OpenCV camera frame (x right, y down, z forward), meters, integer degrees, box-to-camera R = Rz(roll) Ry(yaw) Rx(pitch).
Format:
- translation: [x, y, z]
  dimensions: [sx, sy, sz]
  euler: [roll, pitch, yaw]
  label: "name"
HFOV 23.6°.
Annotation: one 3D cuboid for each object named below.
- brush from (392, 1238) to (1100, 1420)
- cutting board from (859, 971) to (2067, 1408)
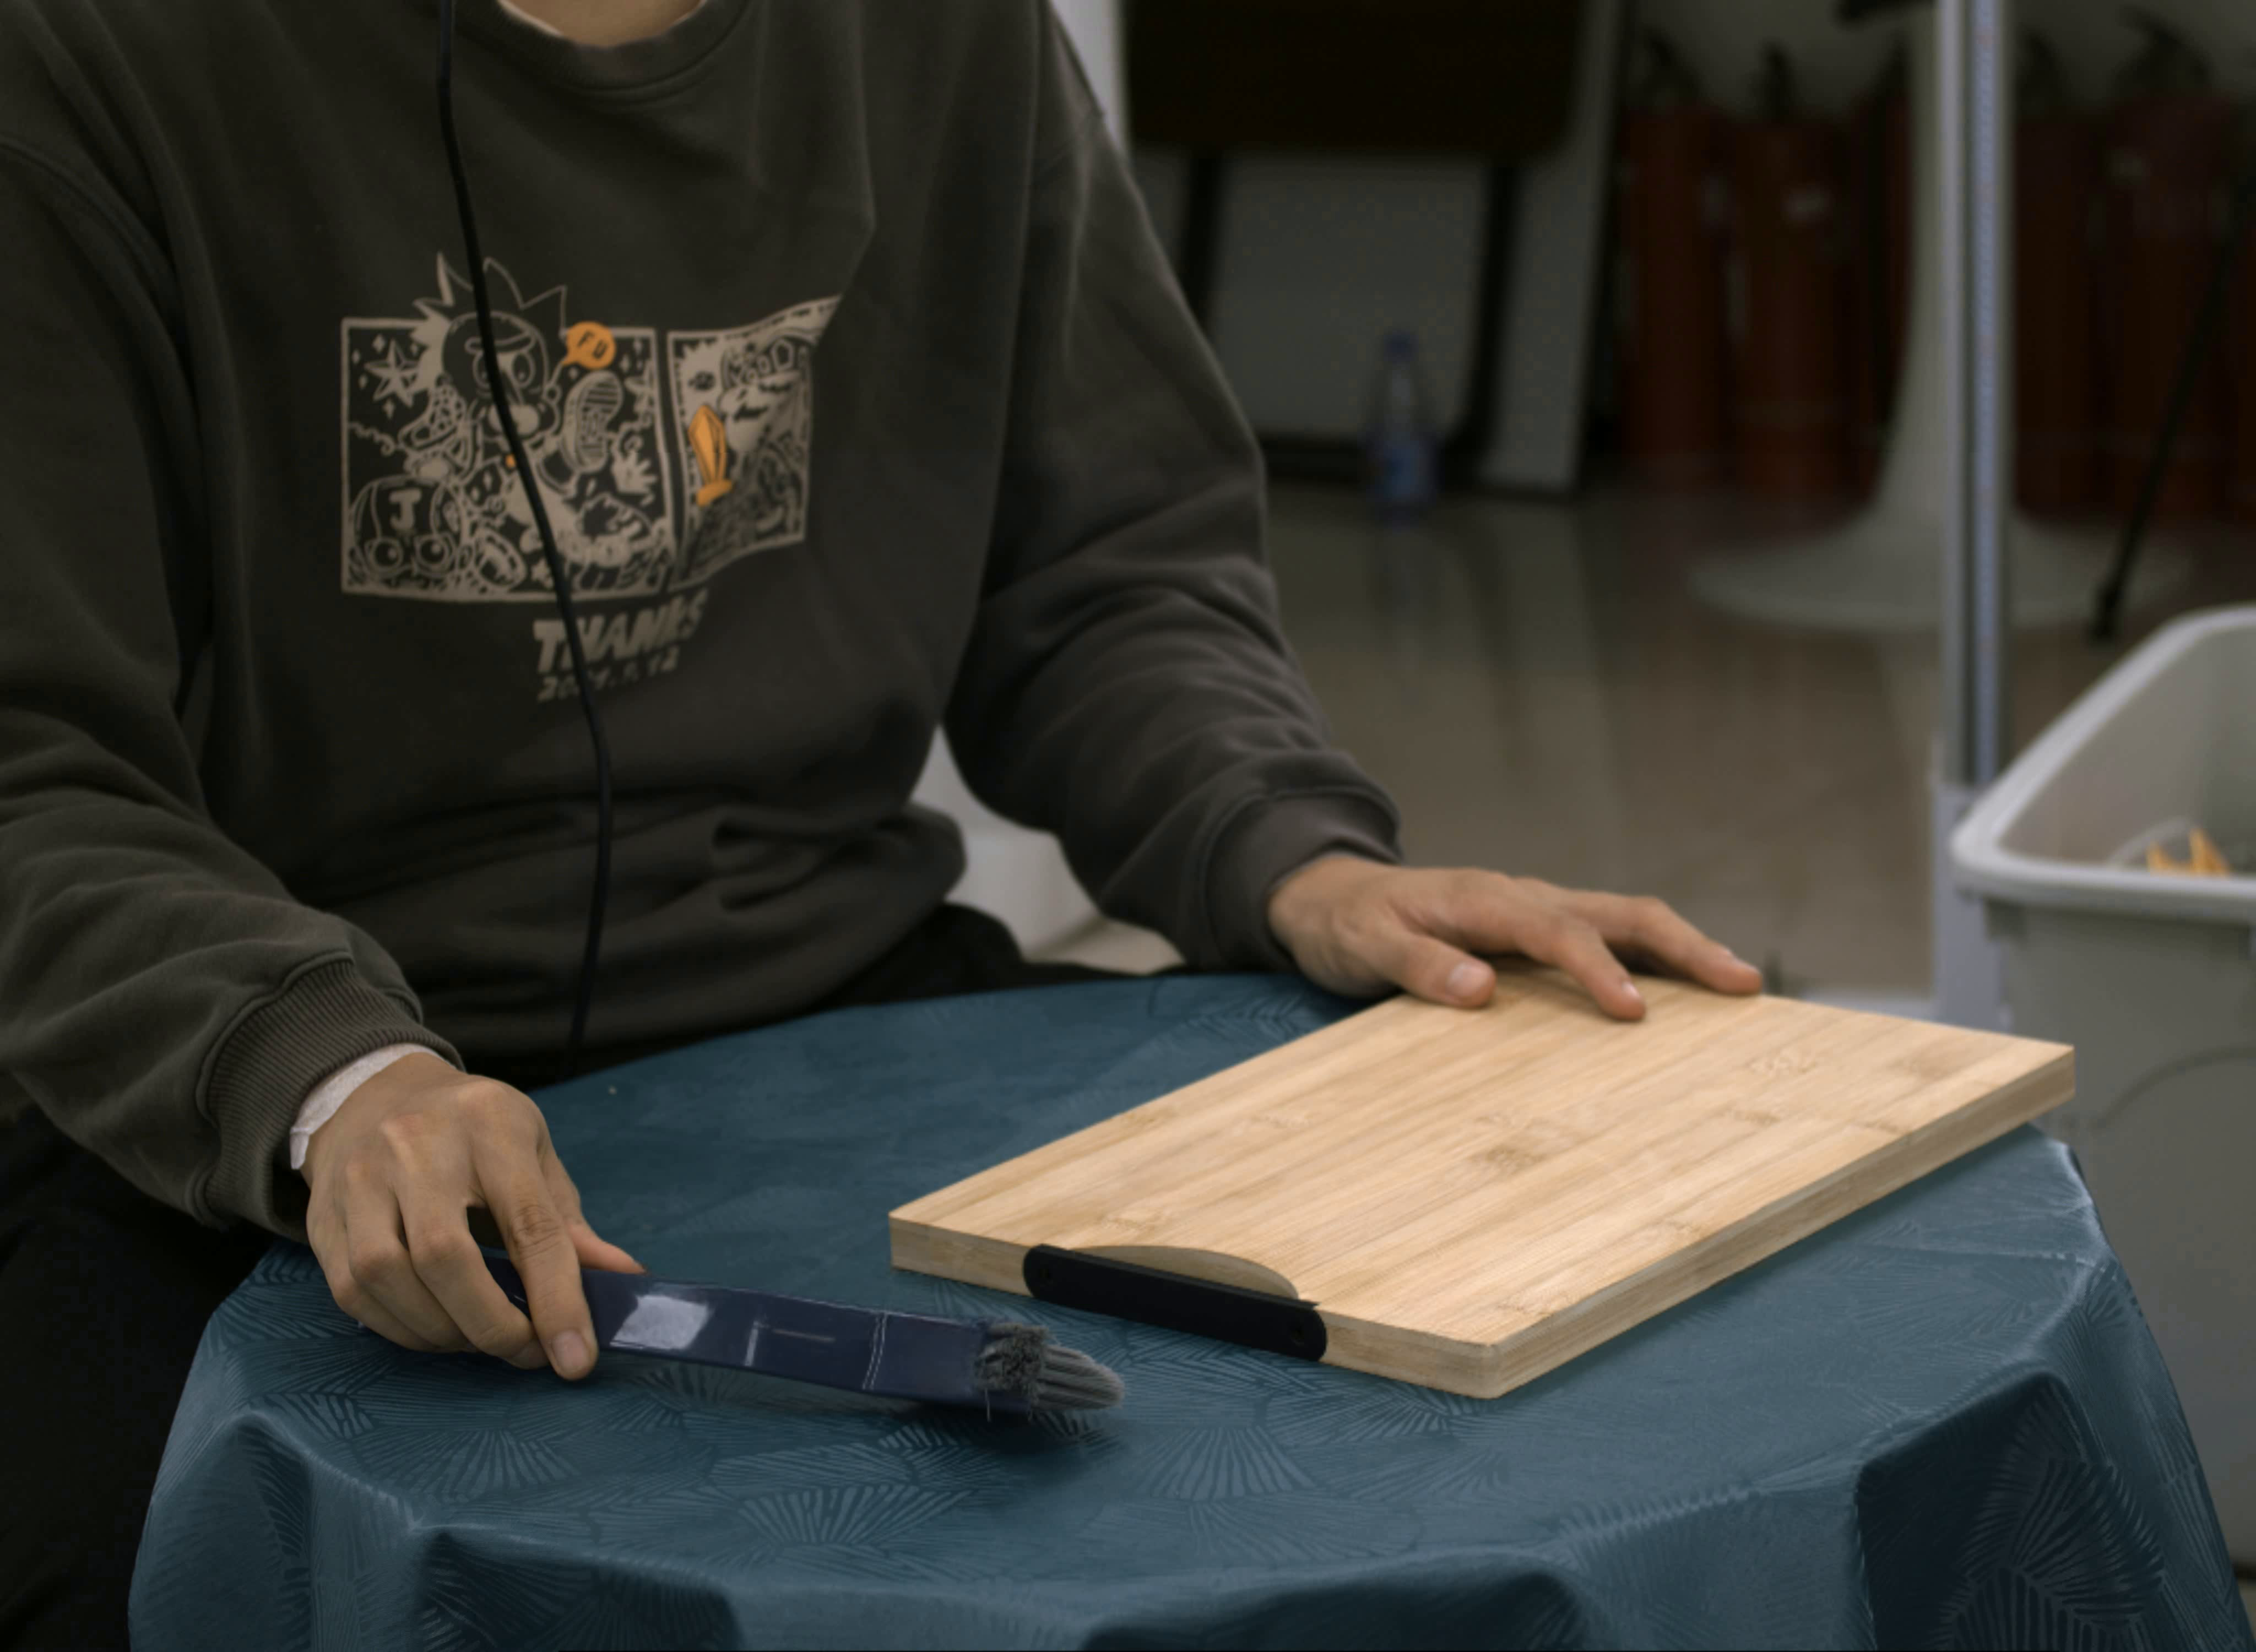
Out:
- translation: [-0.128, 0.147, 1.602]
  dimensions: [0.274, 0.034, 0.094]
  euler: [4, -11, 32]
  label: "brush"
- translation: [0.116, 0.112, 1.751]
  dimensions: [0.252, 0.024, 0.342]
  euler: [6, 17, 39]
  label: "cutting board"
